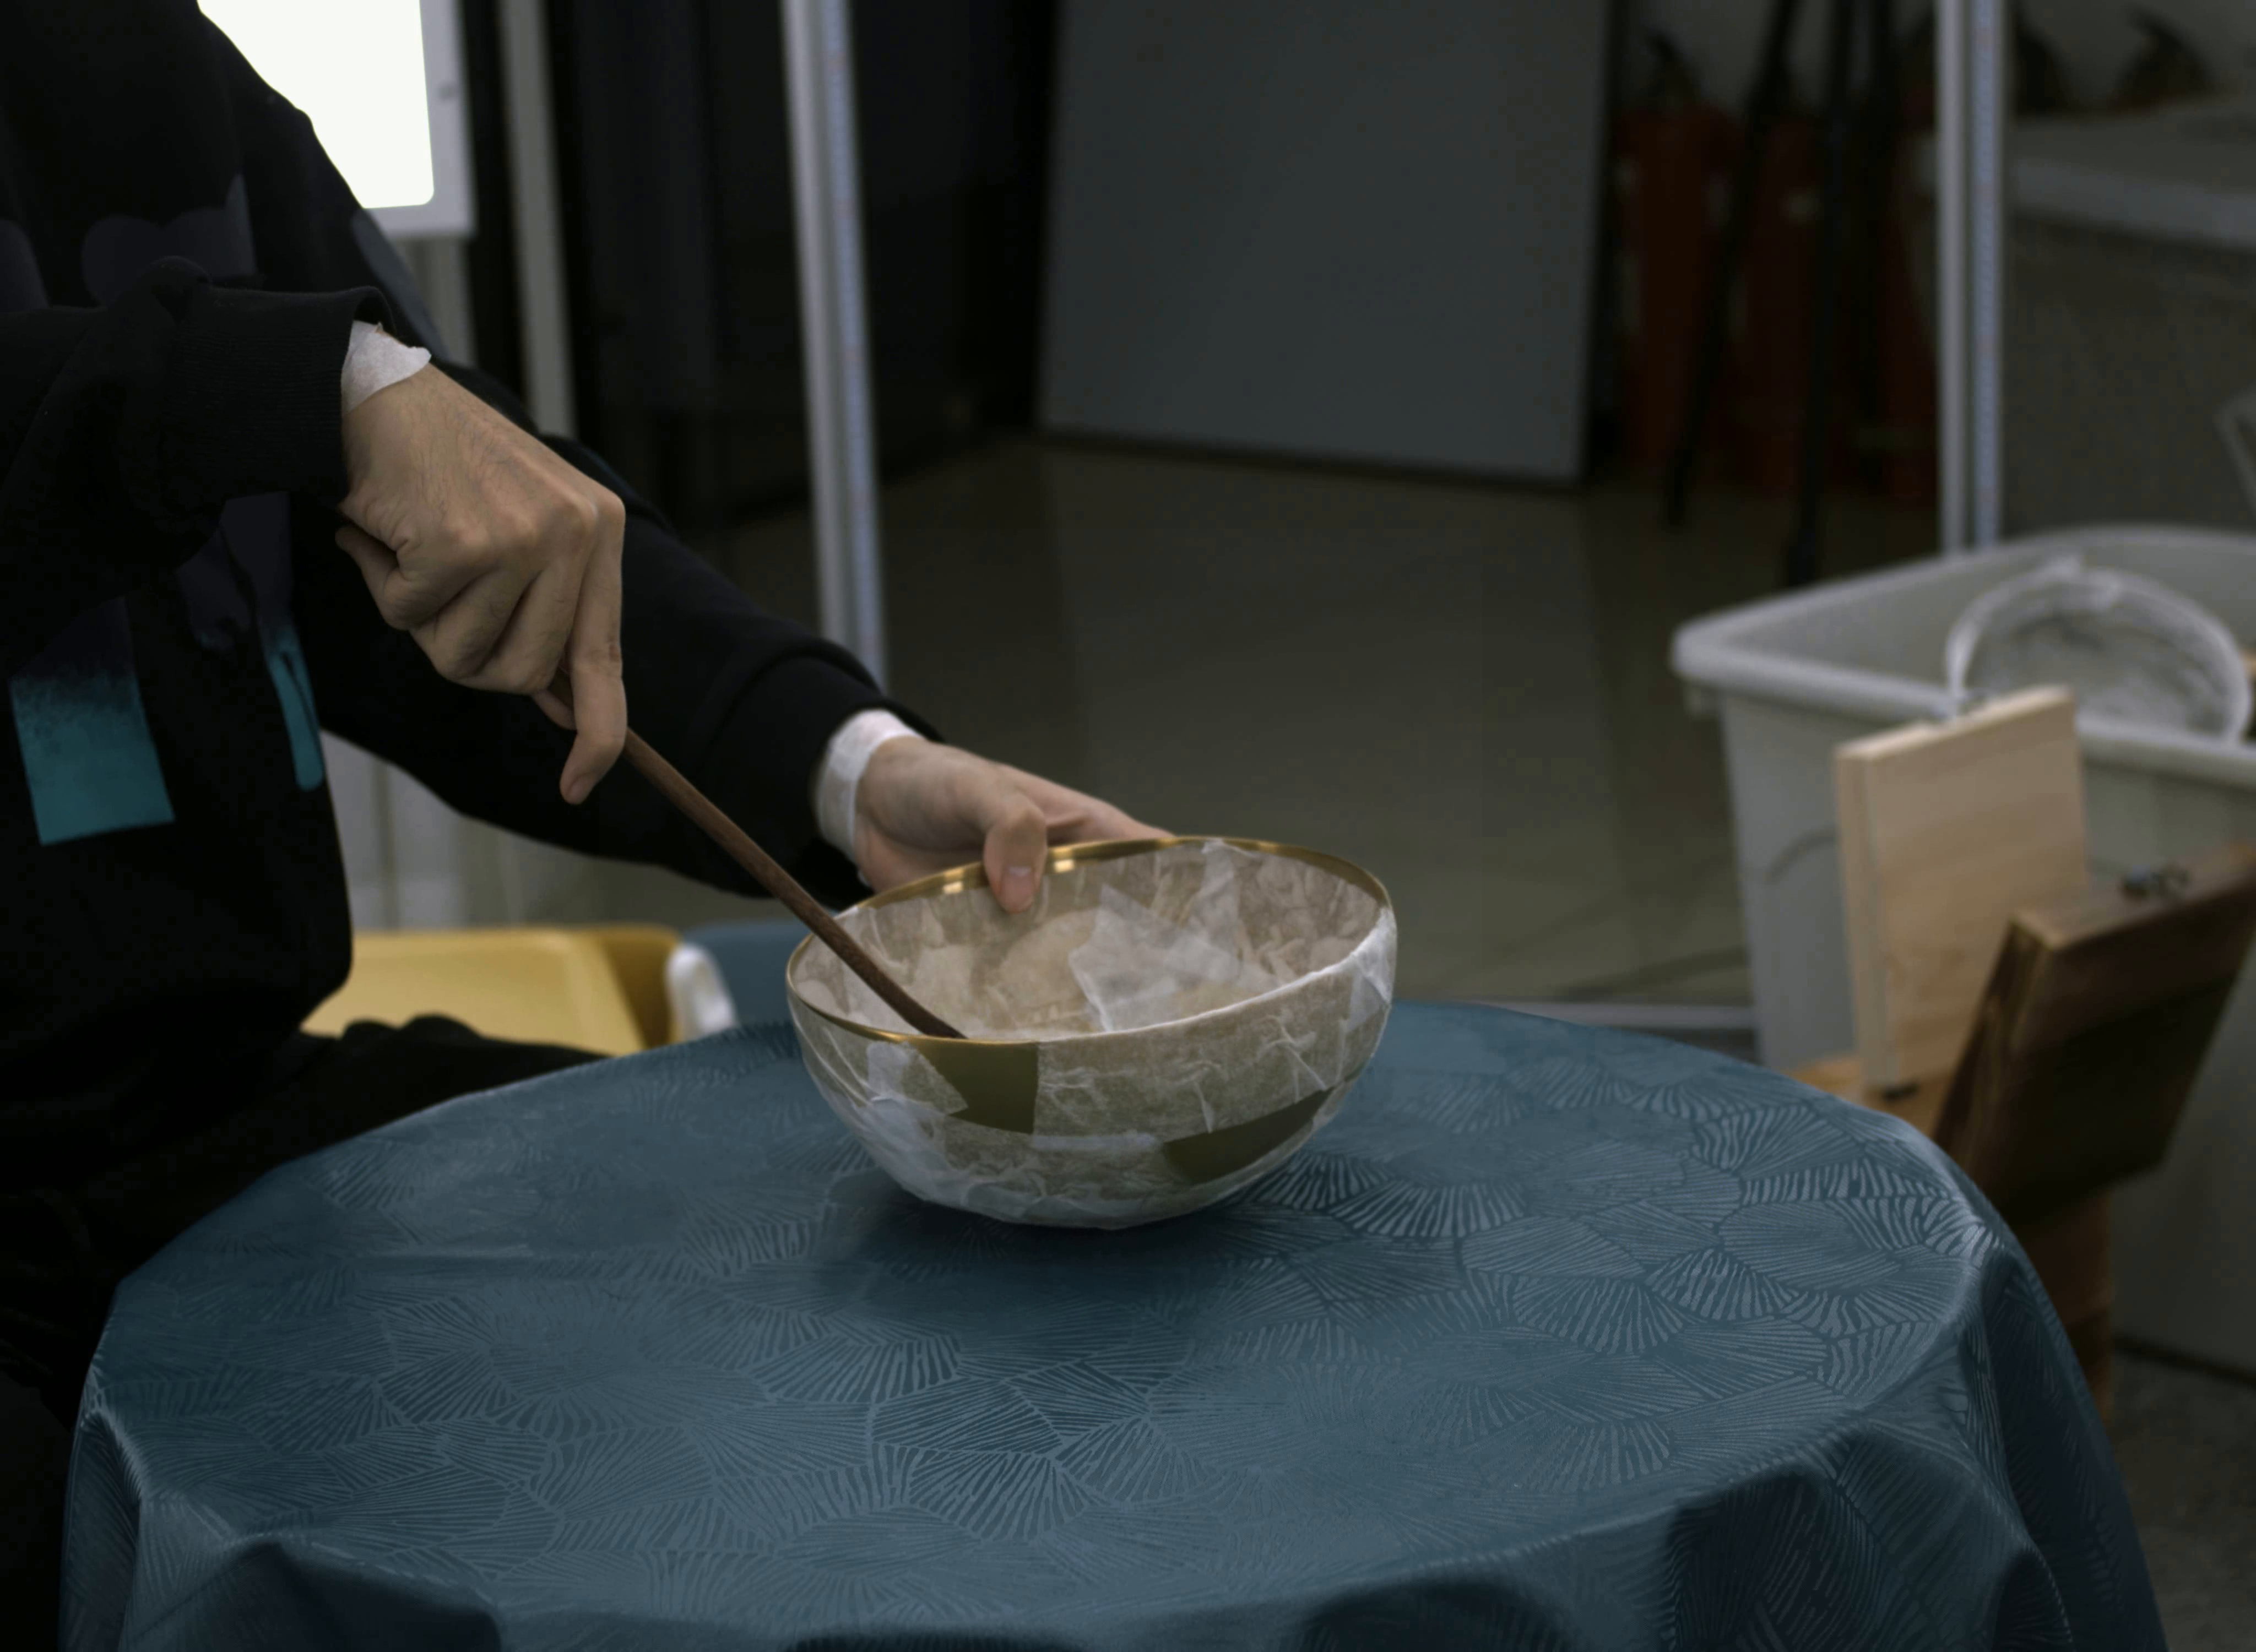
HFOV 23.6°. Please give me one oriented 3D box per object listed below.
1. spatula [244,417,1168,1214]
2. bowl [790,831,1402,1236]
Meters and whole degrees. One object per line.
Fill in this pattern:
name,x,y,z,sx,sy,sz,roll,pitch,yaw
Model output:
spatula,-0.133,-0.003,1.722,0.016,0.385,0.096,-48,-1,-5
bowl,-0.006,0.075,1.756,0.212,0.095,0.215,-9,16,2
